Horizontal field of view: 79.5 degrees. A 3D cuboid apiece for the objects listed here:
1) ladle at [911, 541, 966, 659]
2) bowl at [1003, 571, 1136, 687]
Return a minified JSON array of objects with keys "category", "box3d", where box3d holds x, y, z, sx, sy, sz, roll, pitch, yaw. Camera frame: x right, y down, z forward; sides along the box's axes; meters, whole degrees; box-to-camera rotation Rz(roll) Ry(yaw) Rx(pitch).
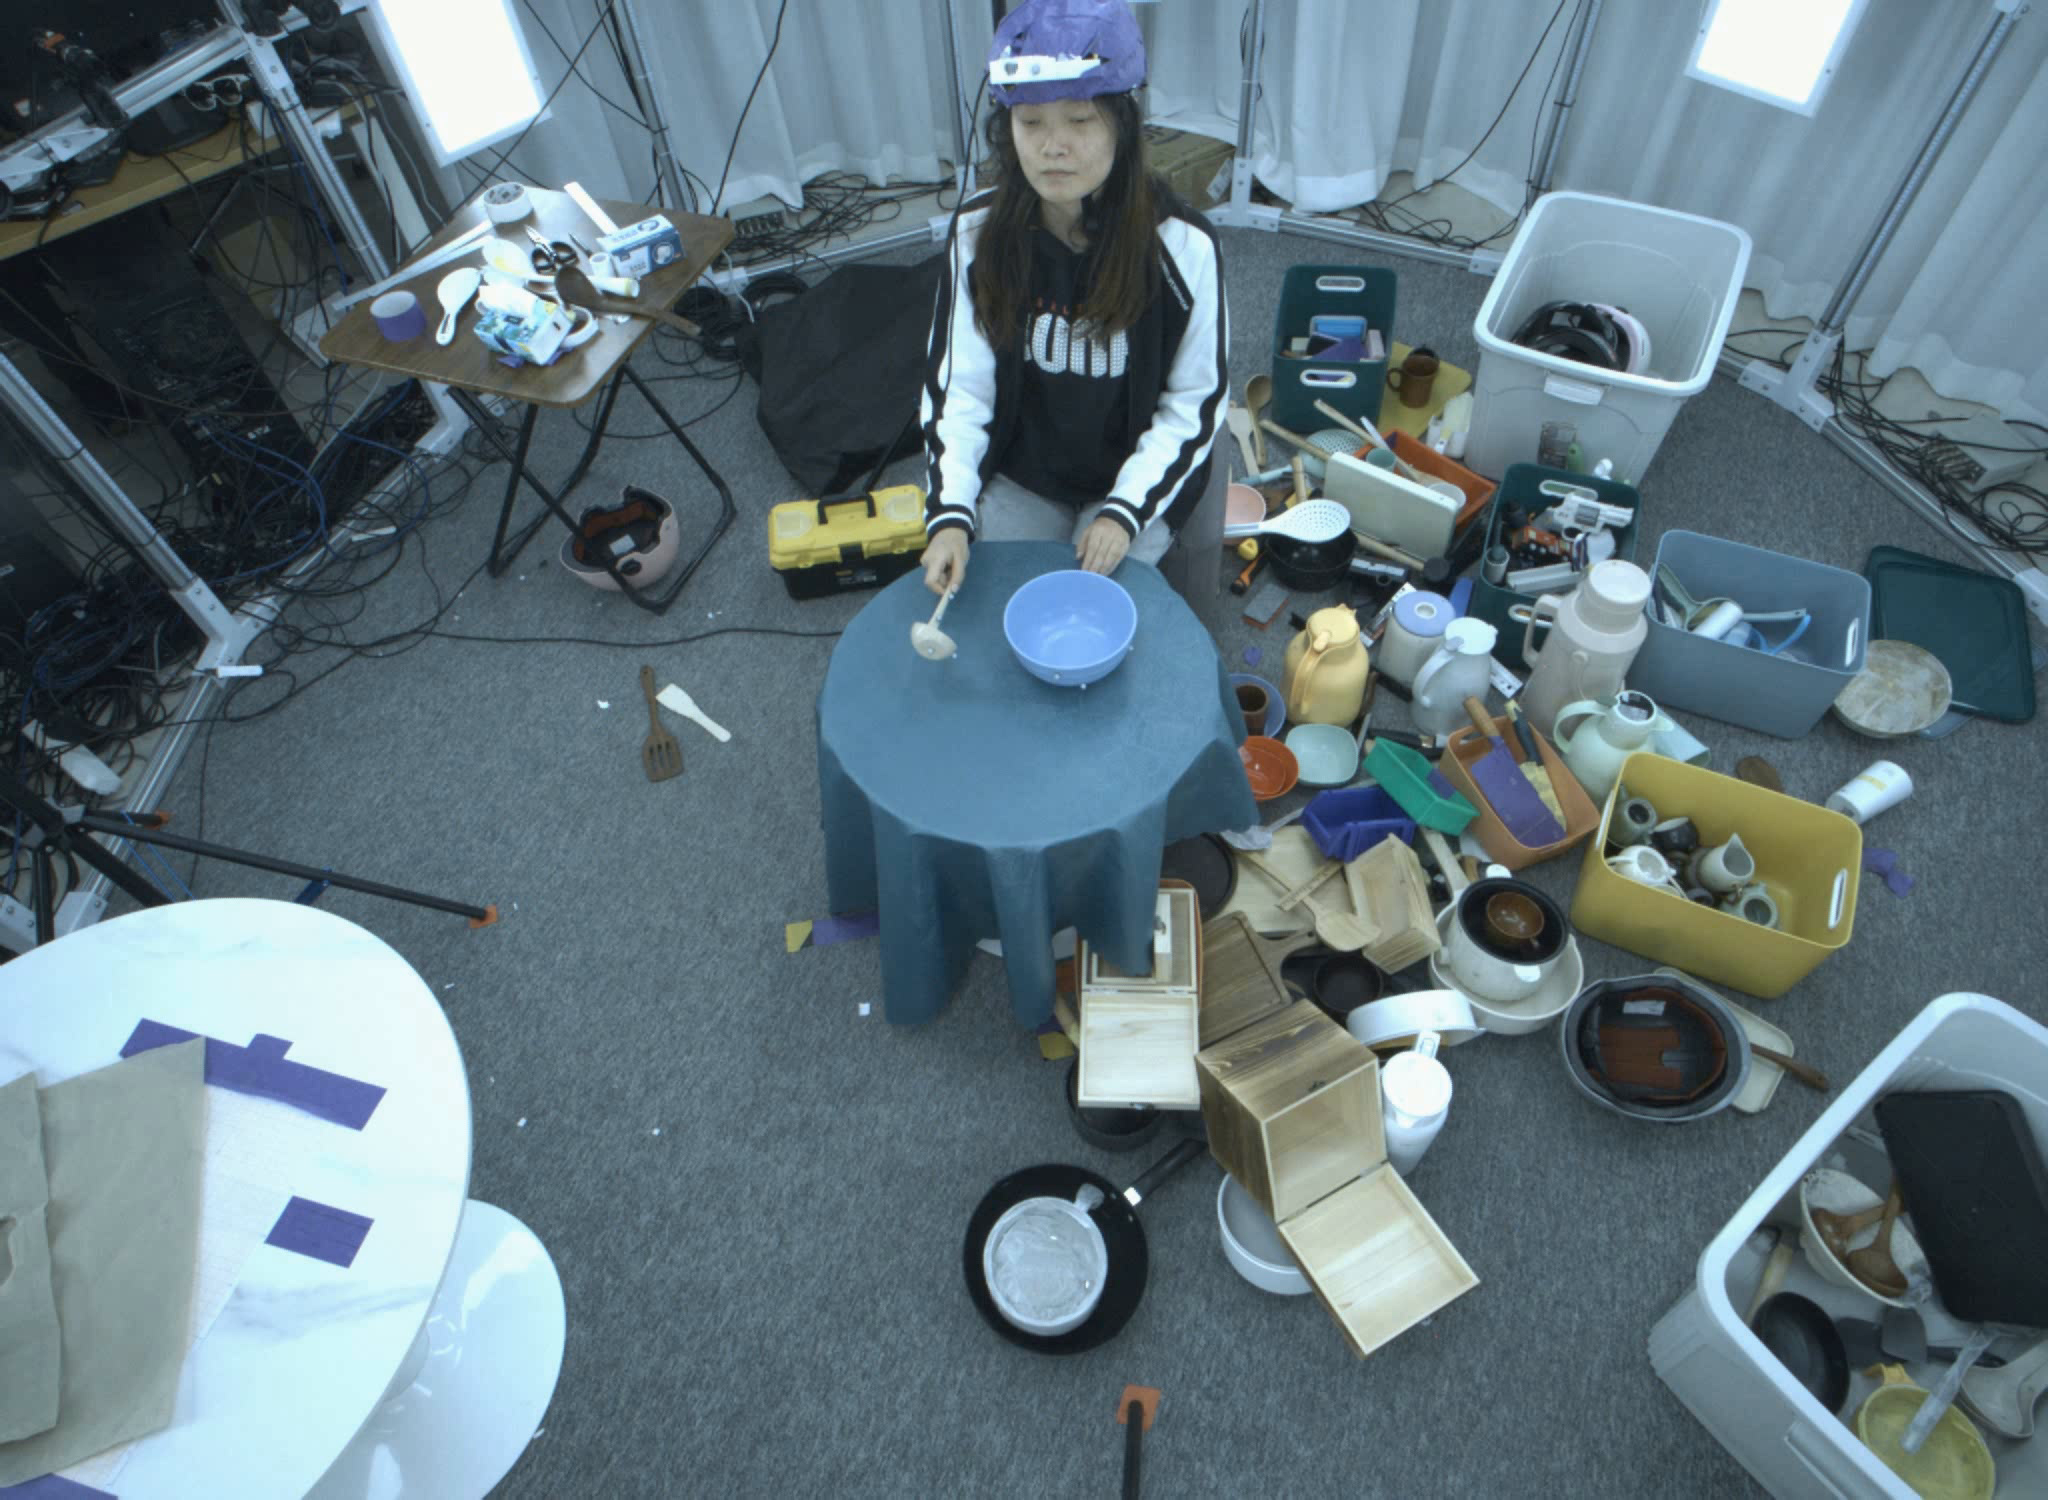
[{"category":"ladle","box3d":[-0.107,-0.243,1.849,0.073,0.072,0.253,34,51,-24]},{"category":"bowl","box3d":[0.070,-0.166,1.849,0.196,0.096,0.194,-1,54,3]}]
